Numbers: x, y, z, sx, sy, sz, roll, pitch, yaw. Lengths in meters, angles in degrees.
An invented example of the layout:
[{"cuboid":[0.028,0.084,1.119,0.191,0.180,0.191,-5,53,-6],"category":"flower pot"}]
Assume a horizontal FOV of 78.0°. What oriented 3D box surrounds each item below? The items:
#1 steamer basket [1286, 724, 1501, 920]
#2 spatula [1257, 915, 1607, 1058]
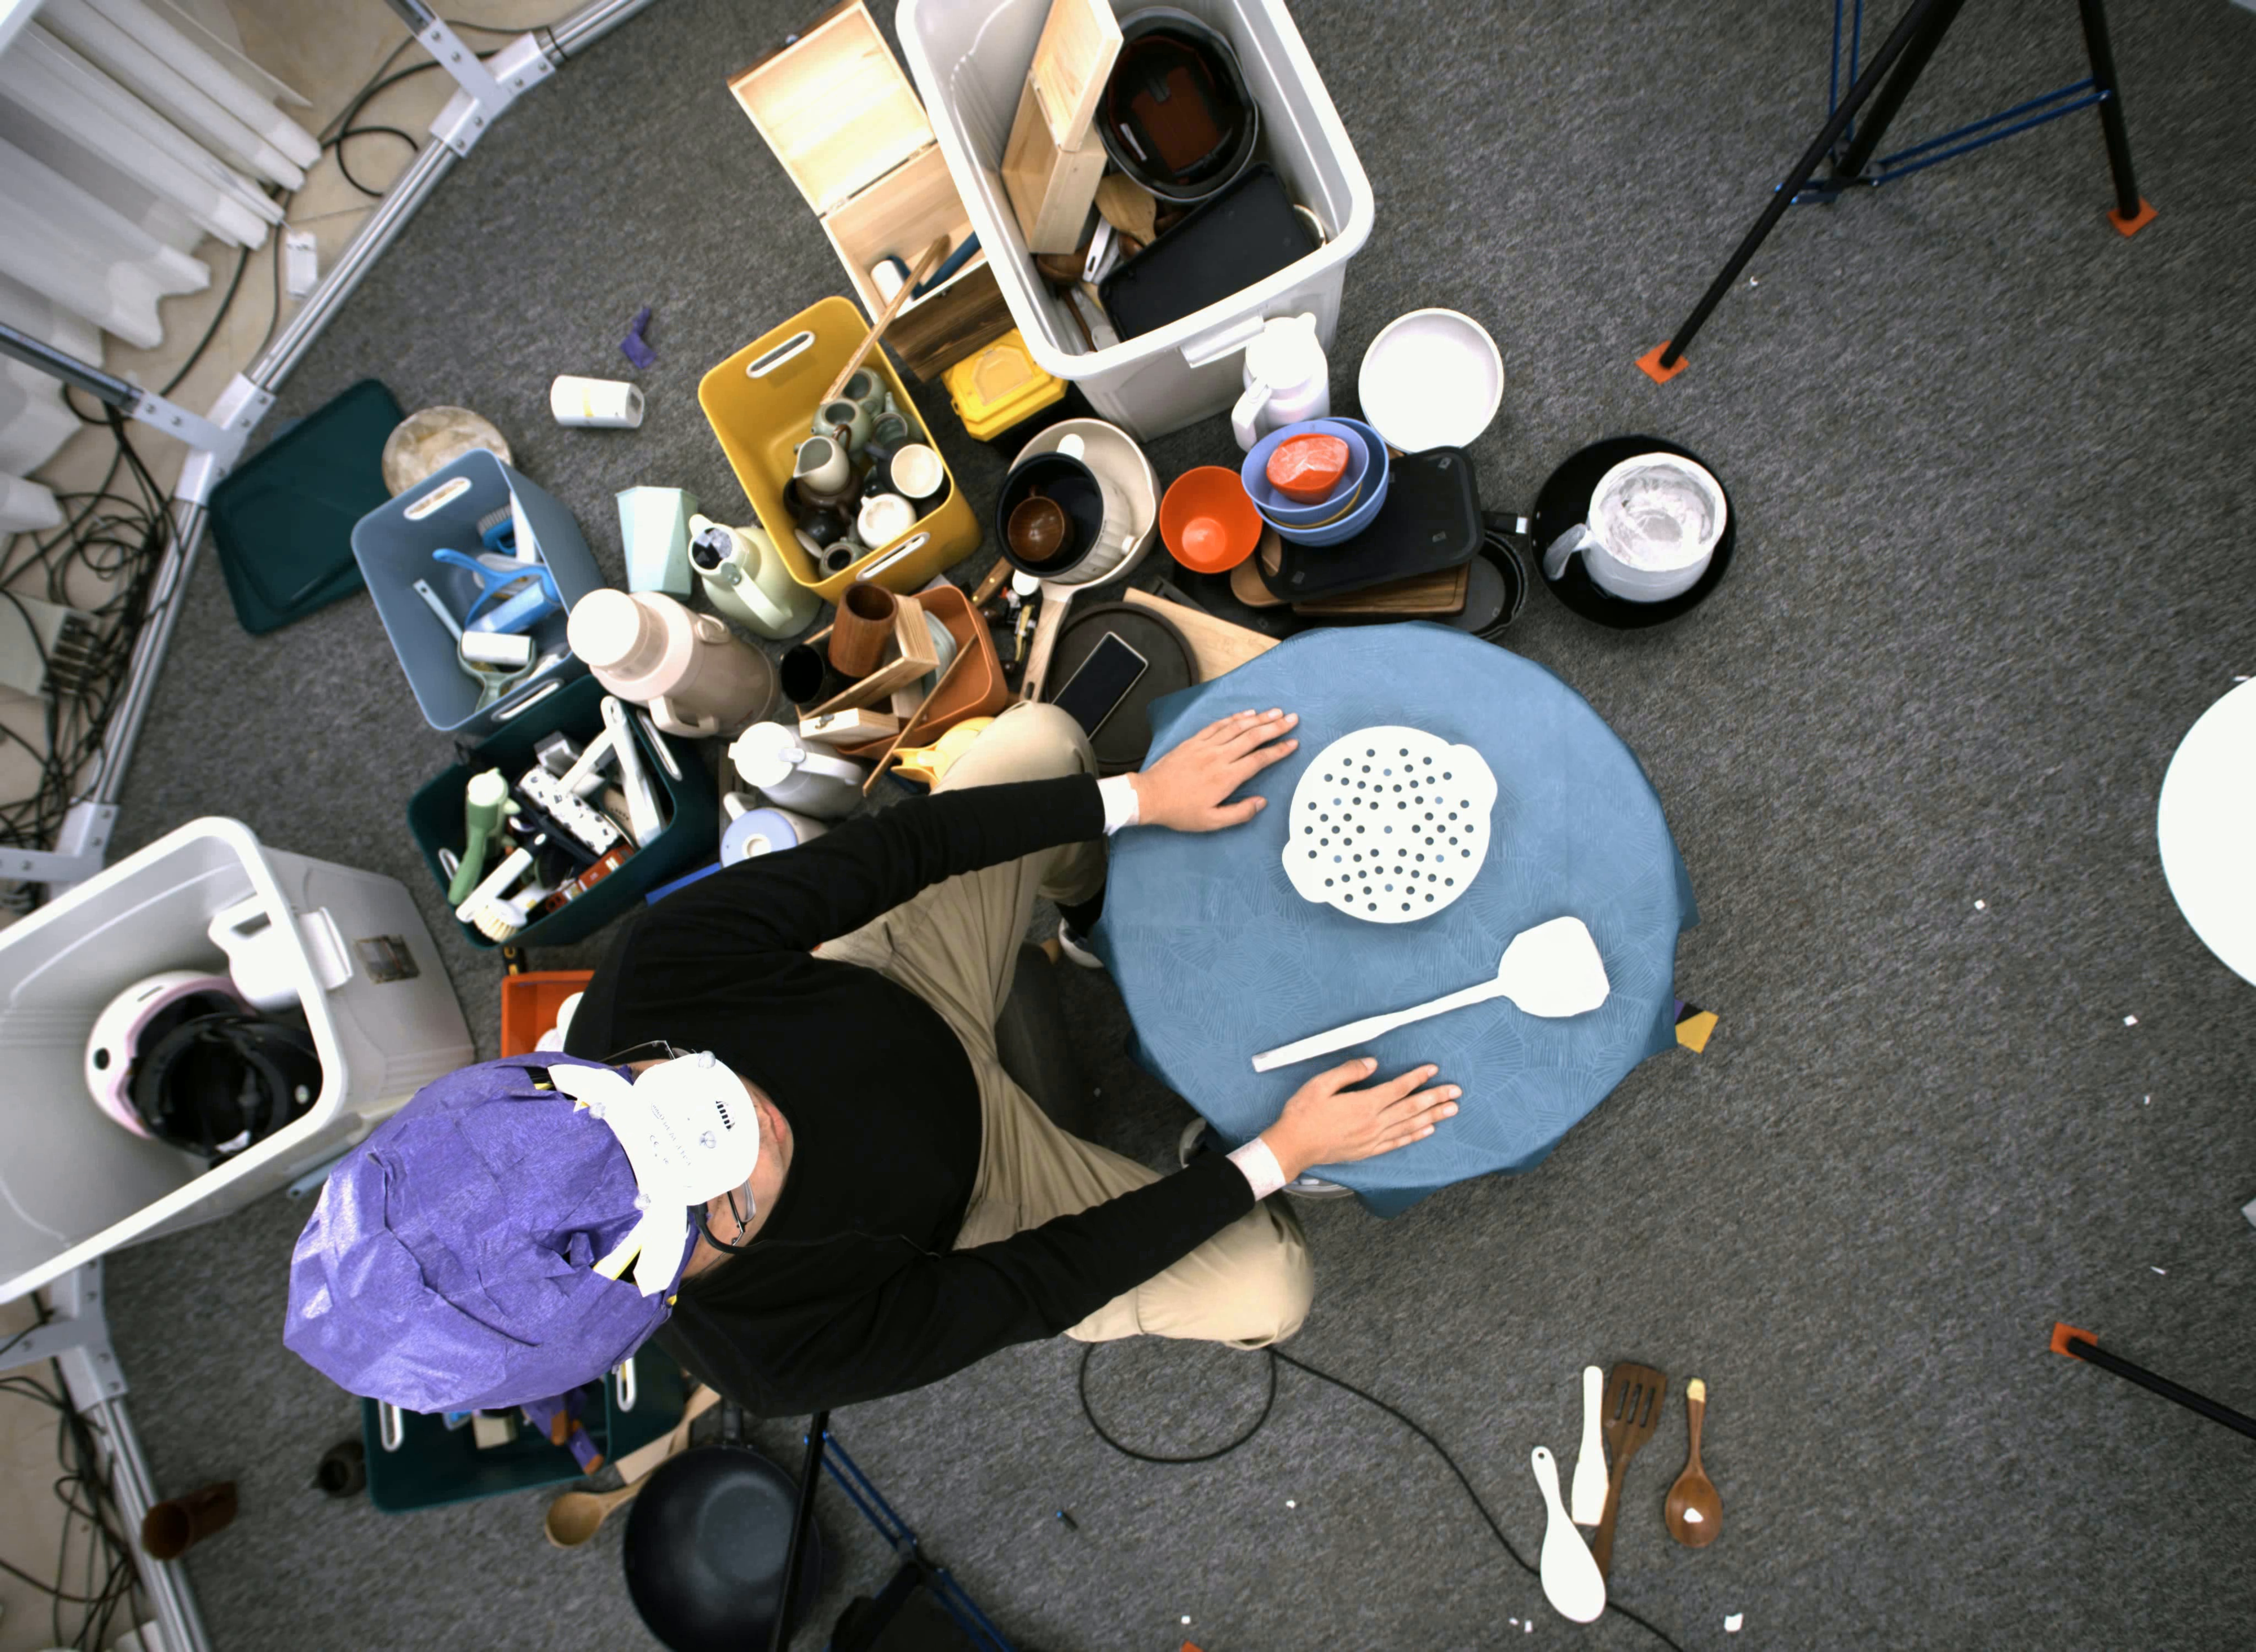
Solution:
[{"cuboid":[0.274,-0.003,1.428,0.232,0.069,0.200,-30,81,8],"category":"steamer basket"},{"cuboid":[0.308,0.185,1.428,0.367,0.045,0.098,-18,85,9],"category":"spatula"}]
